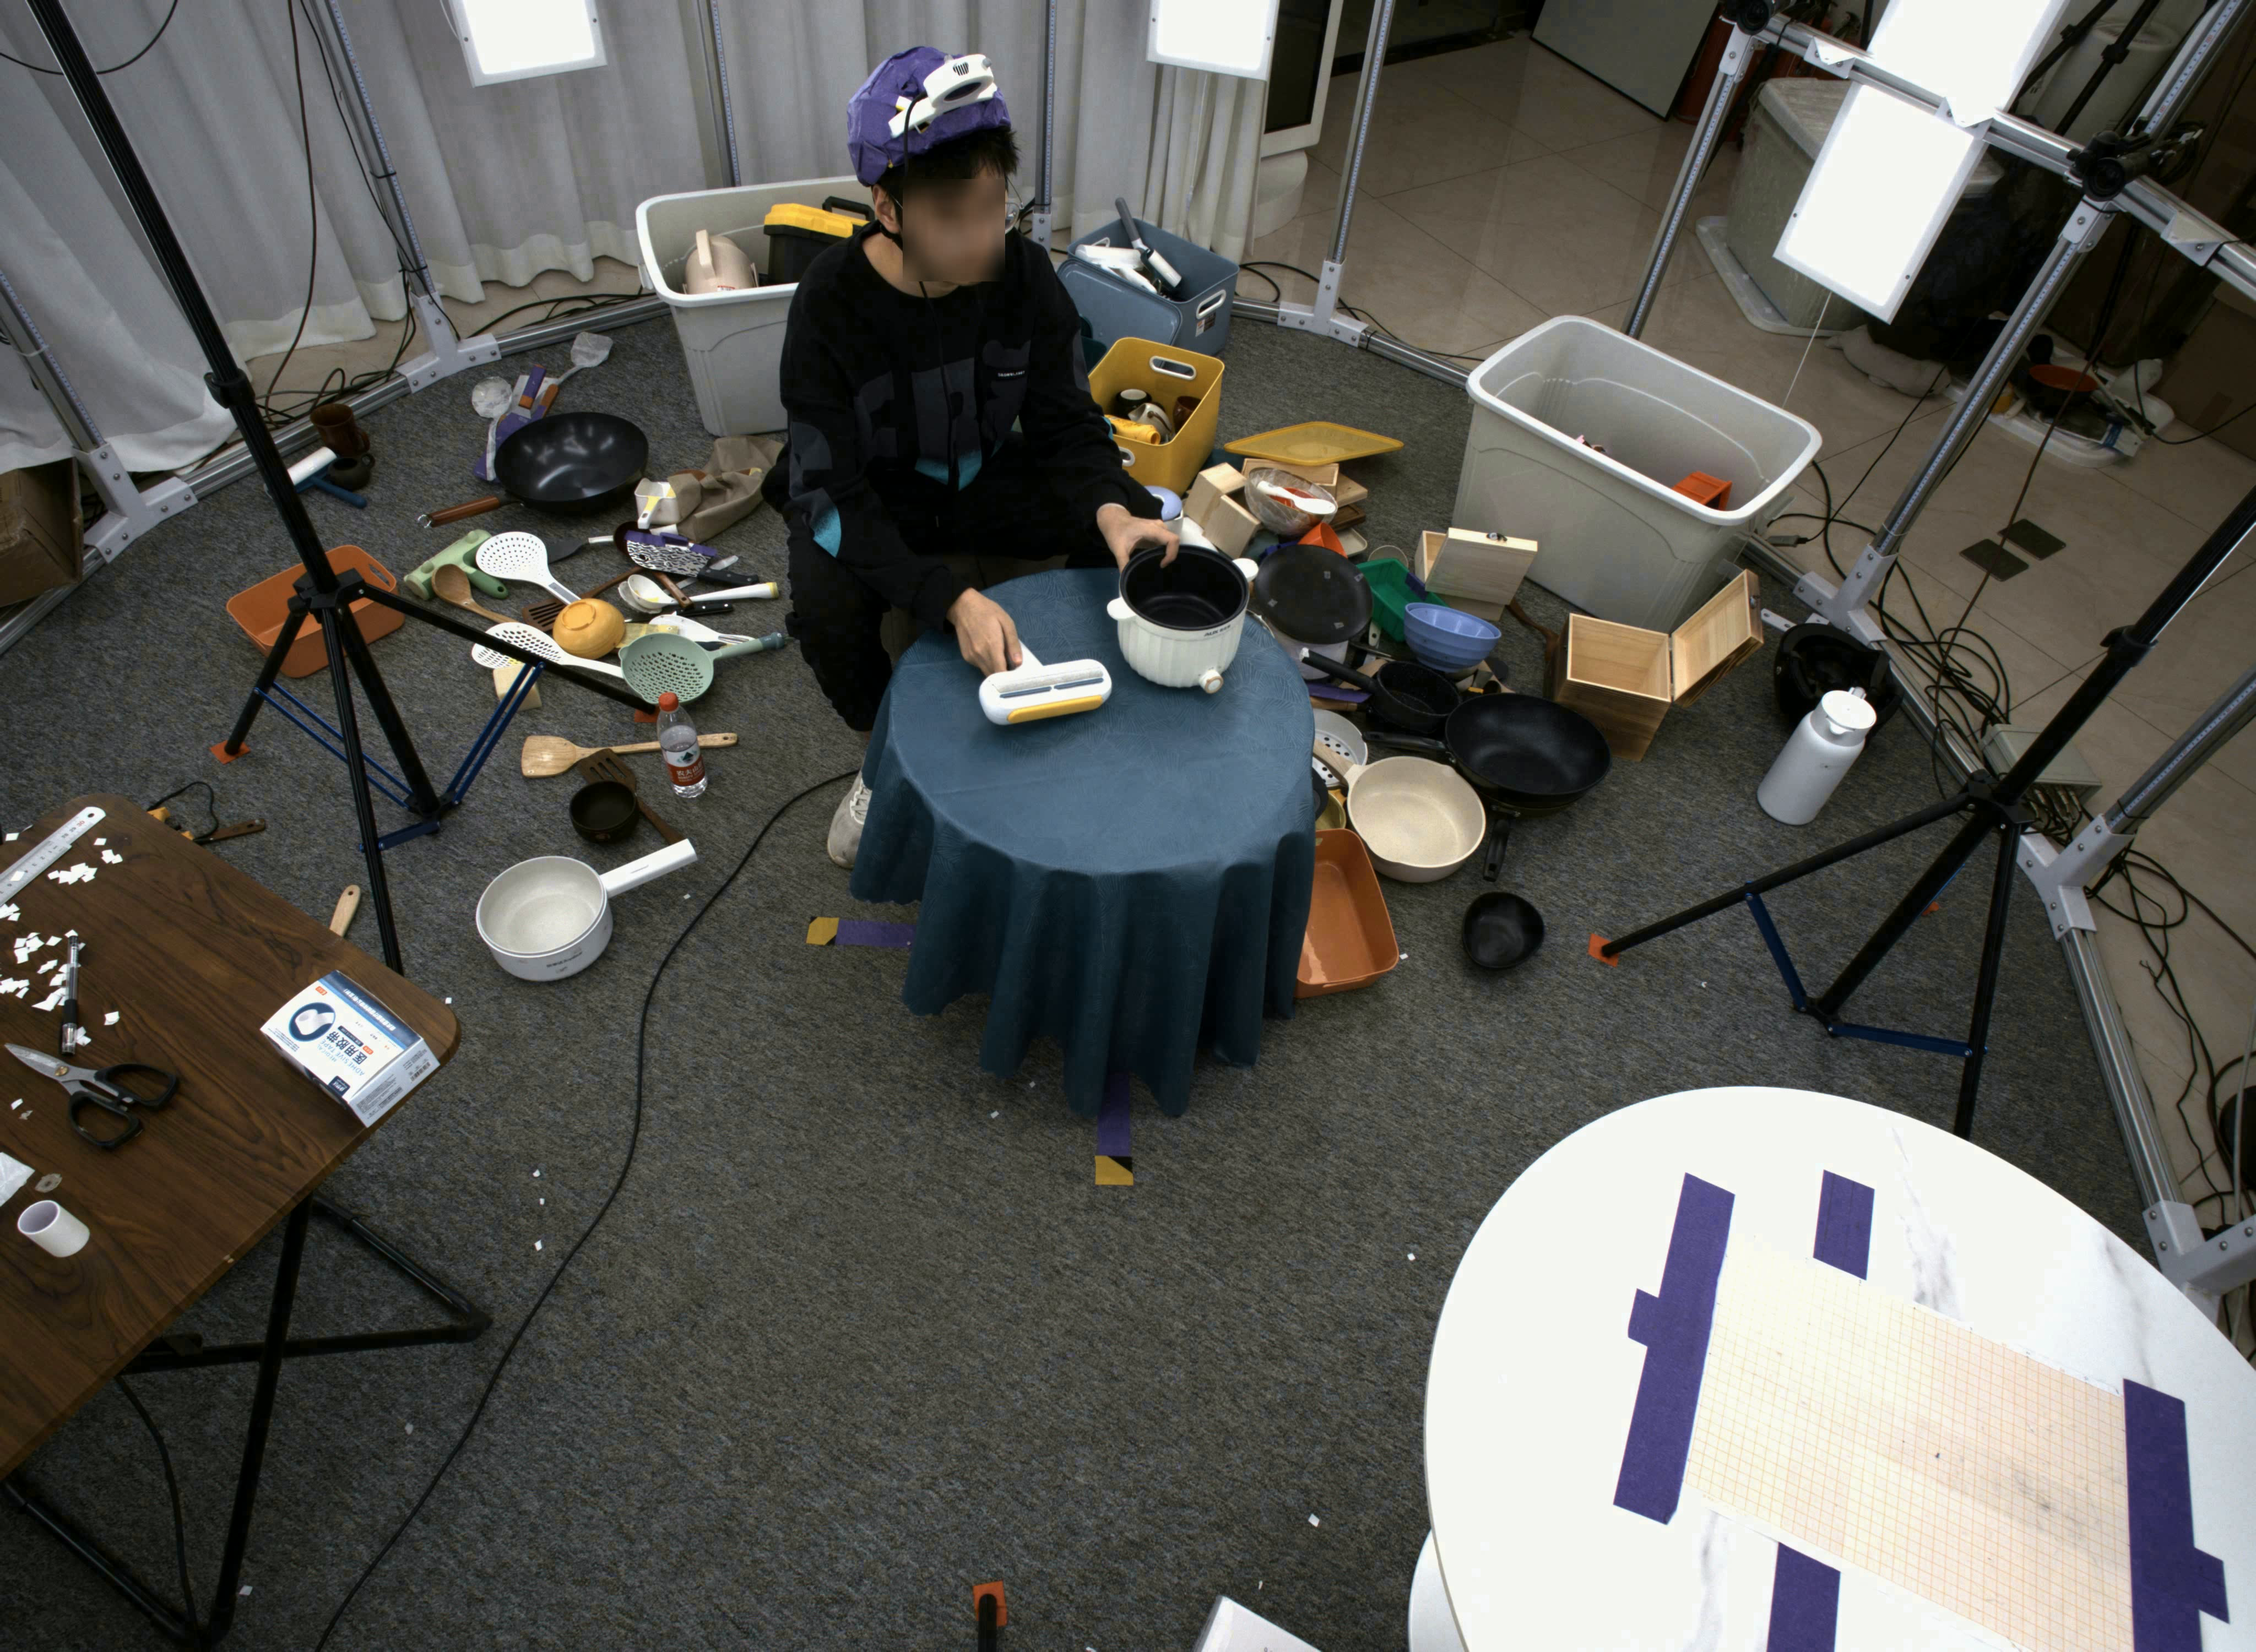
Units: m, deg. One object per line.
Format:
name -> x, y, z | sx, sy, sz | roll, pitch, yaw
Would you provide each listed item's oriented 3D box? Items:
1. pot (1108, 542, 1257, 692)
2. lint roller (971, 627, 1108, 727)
pot -> 0.079, -0.291, 1.835 | 0.241, 0.139, 0.194 | -23, 52, -20
lint roller -> -0.143, -0.223, 1.802 | 0.193, 0.072, 0.197 | -12, 54, -22
